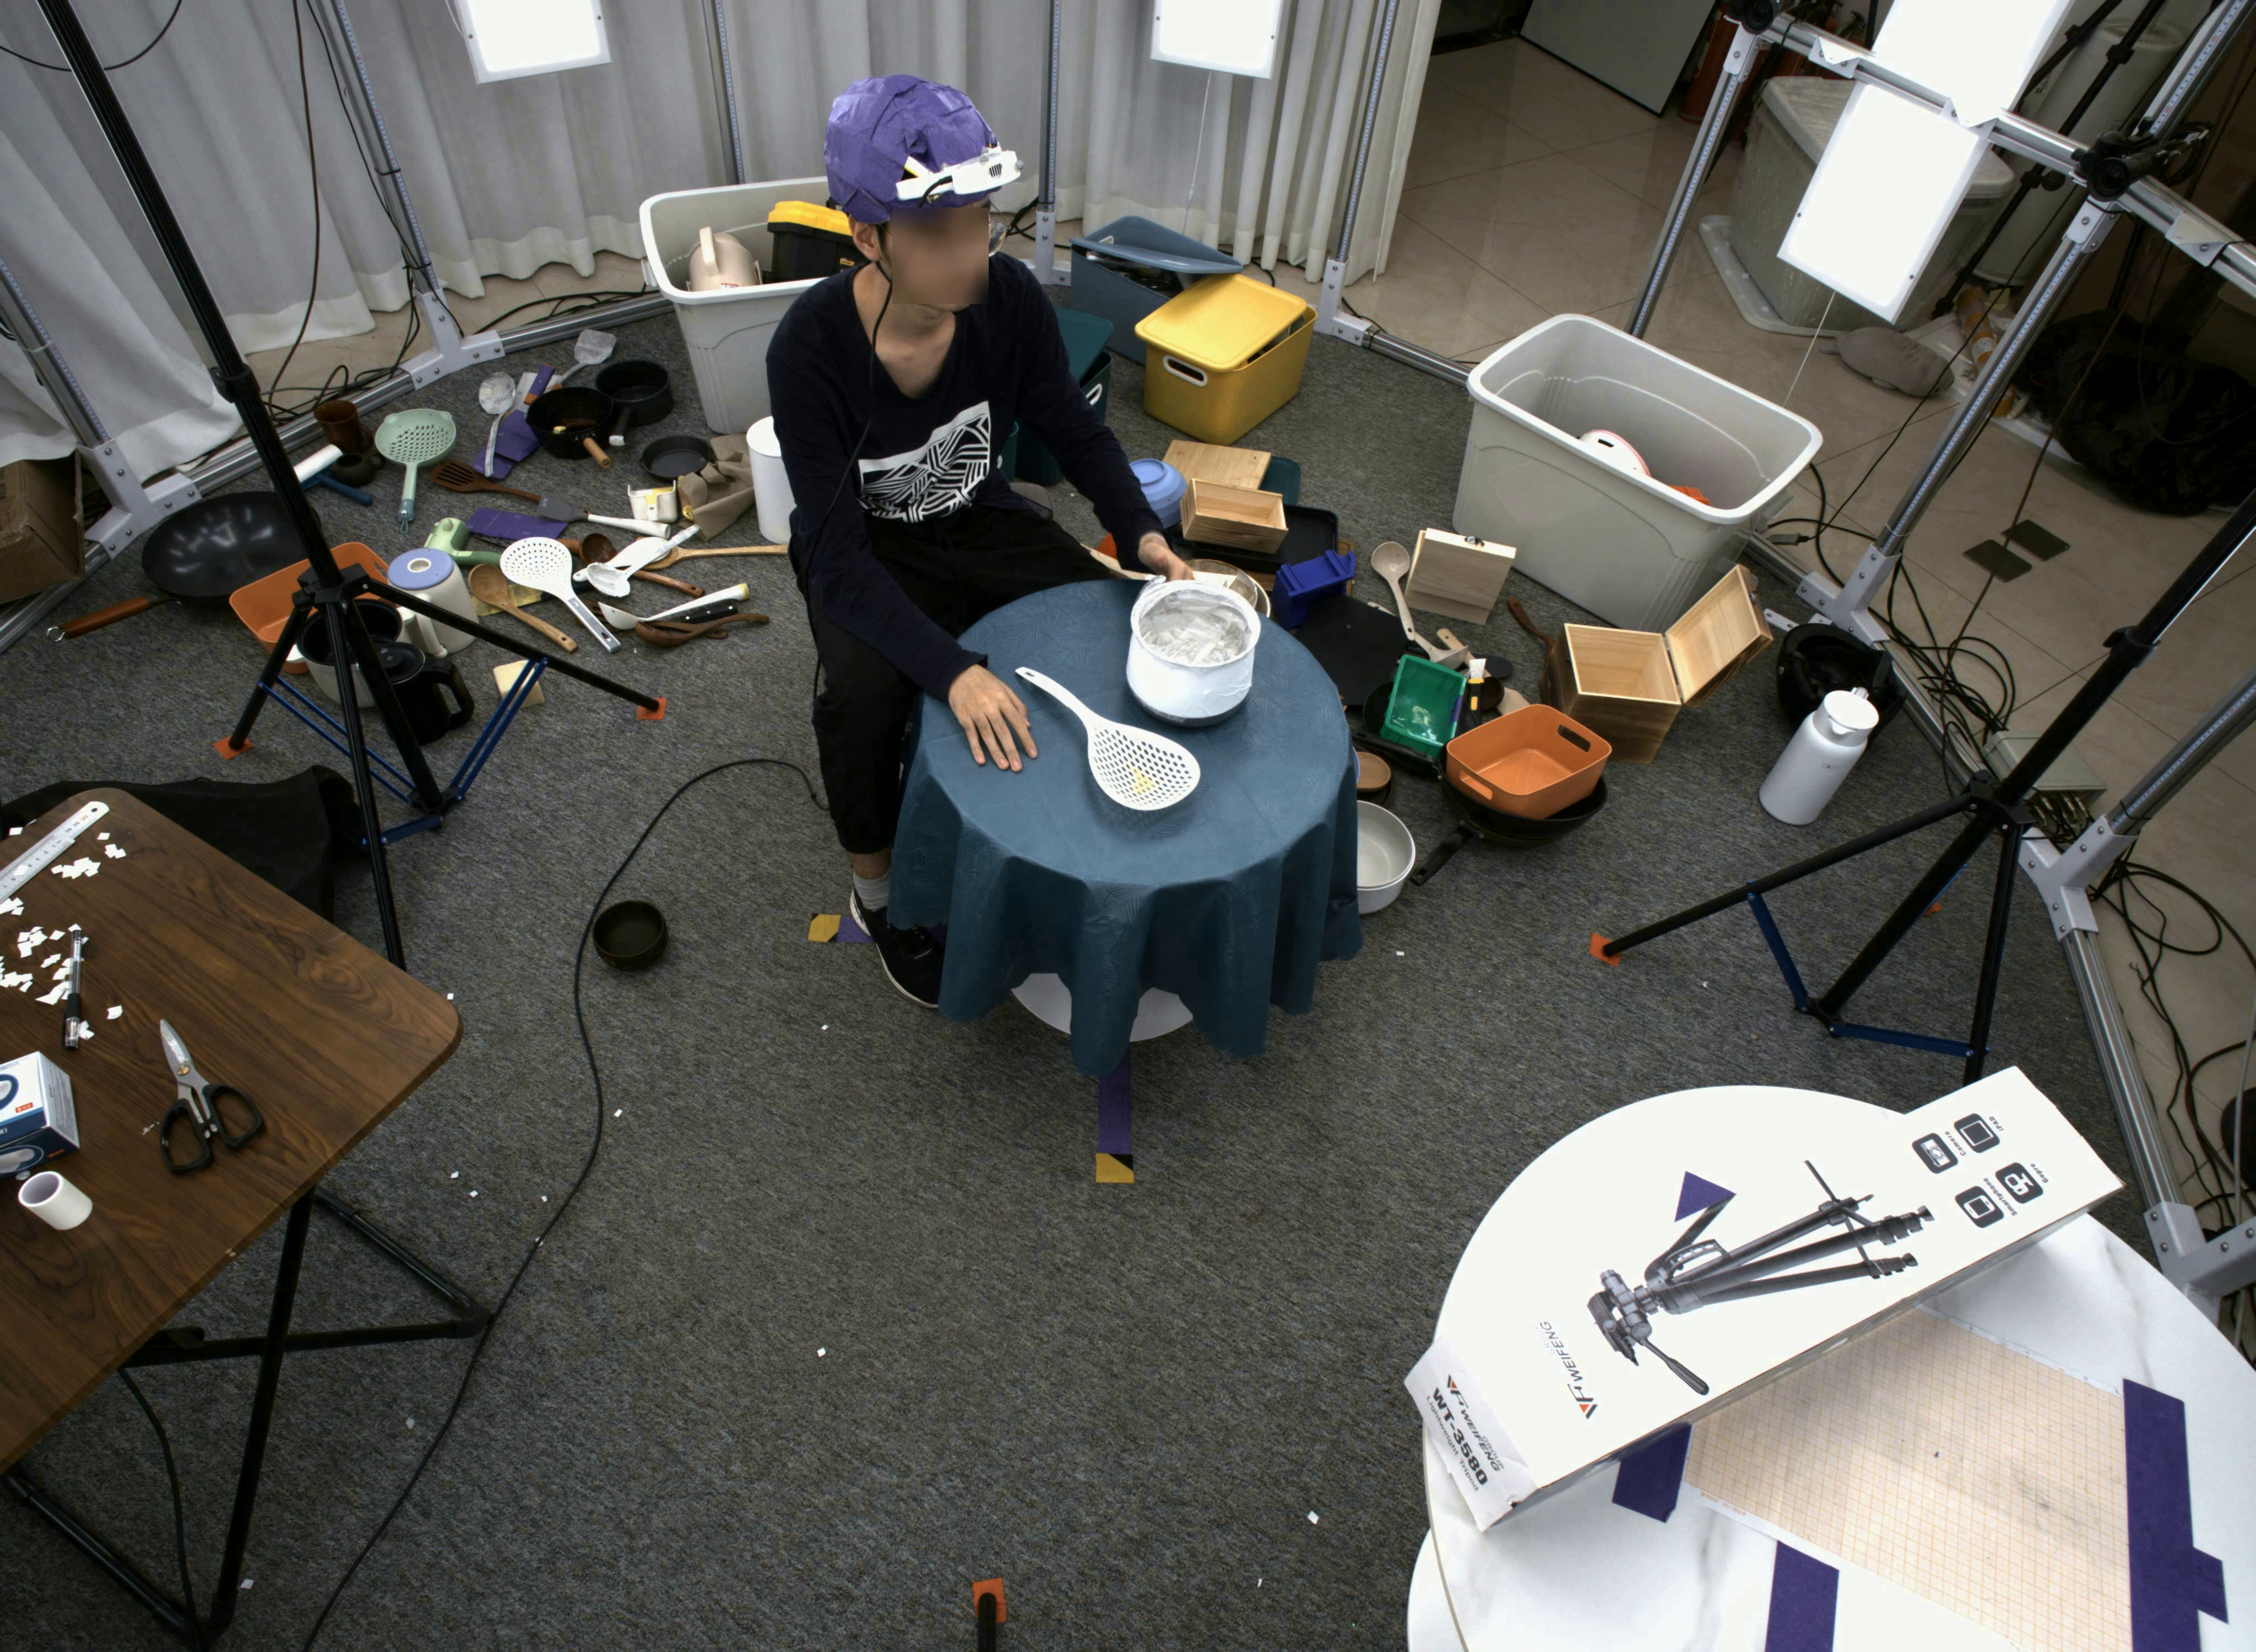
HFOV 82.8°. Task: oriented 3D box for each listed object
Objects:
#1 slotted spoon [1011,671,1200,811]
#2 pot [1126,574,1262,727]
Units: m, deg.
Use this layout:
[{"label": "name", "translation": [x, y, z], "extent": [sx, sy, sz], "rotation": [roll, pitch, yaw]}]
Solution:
[{"label": "slotted spoon", "translation": [-0.046, -0.130, 1.748], "extent": [0.138, 0.049, 0.354], "rotation": [-31, 58, -26]}, {"label": "pot", "translation": [0.075, -0.256, 1.806], "extent": [0.179, 0.133, 0.239], "rotation": [-20, 54, -22]}]
